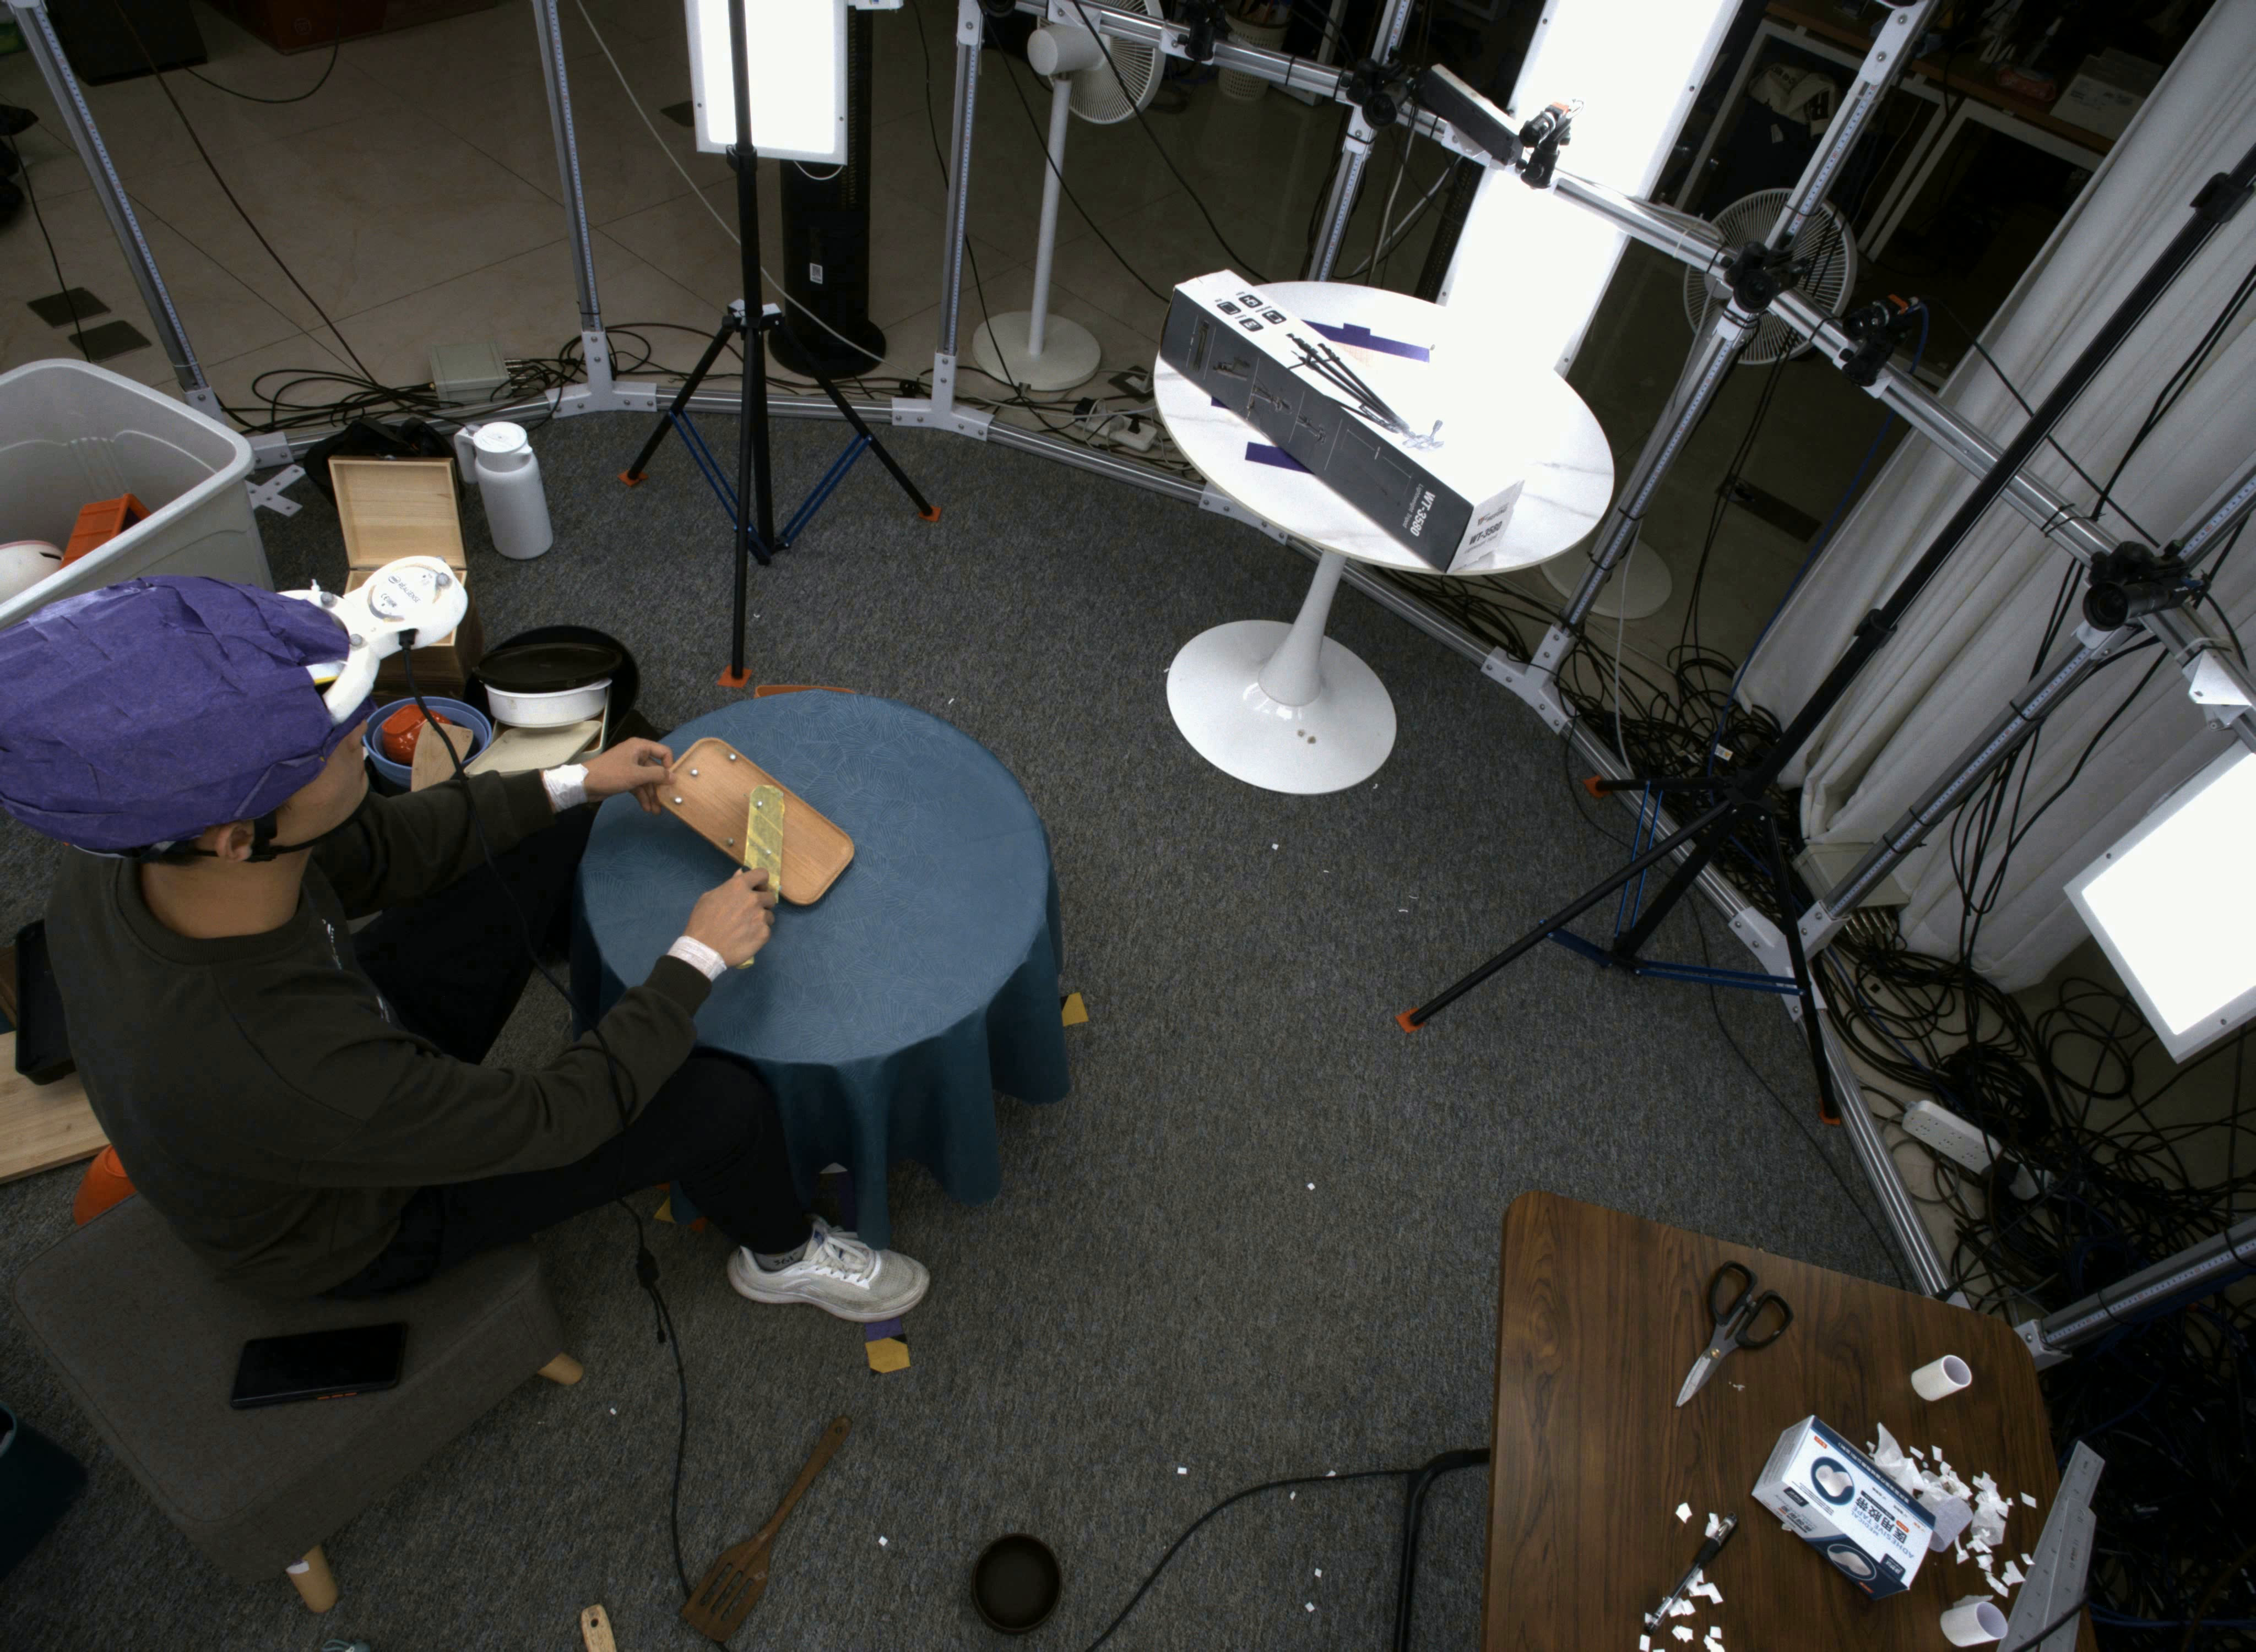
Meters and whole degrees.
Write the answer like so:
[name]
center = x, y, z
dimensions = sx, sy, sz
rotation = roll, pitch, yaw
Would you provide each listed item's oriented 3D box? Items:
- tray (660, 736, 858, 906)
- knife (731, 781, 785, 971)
[tray]
center = -0.476, -0.007, 1.670
dimensions = 0.253, 0.023, 0.130
rotation = 38, 55, -9
[knife]
center = -0.453, 0.057, 1.596
dimensions = 0.027, 0.084, 0.284
rotation = -17, 51, 18
